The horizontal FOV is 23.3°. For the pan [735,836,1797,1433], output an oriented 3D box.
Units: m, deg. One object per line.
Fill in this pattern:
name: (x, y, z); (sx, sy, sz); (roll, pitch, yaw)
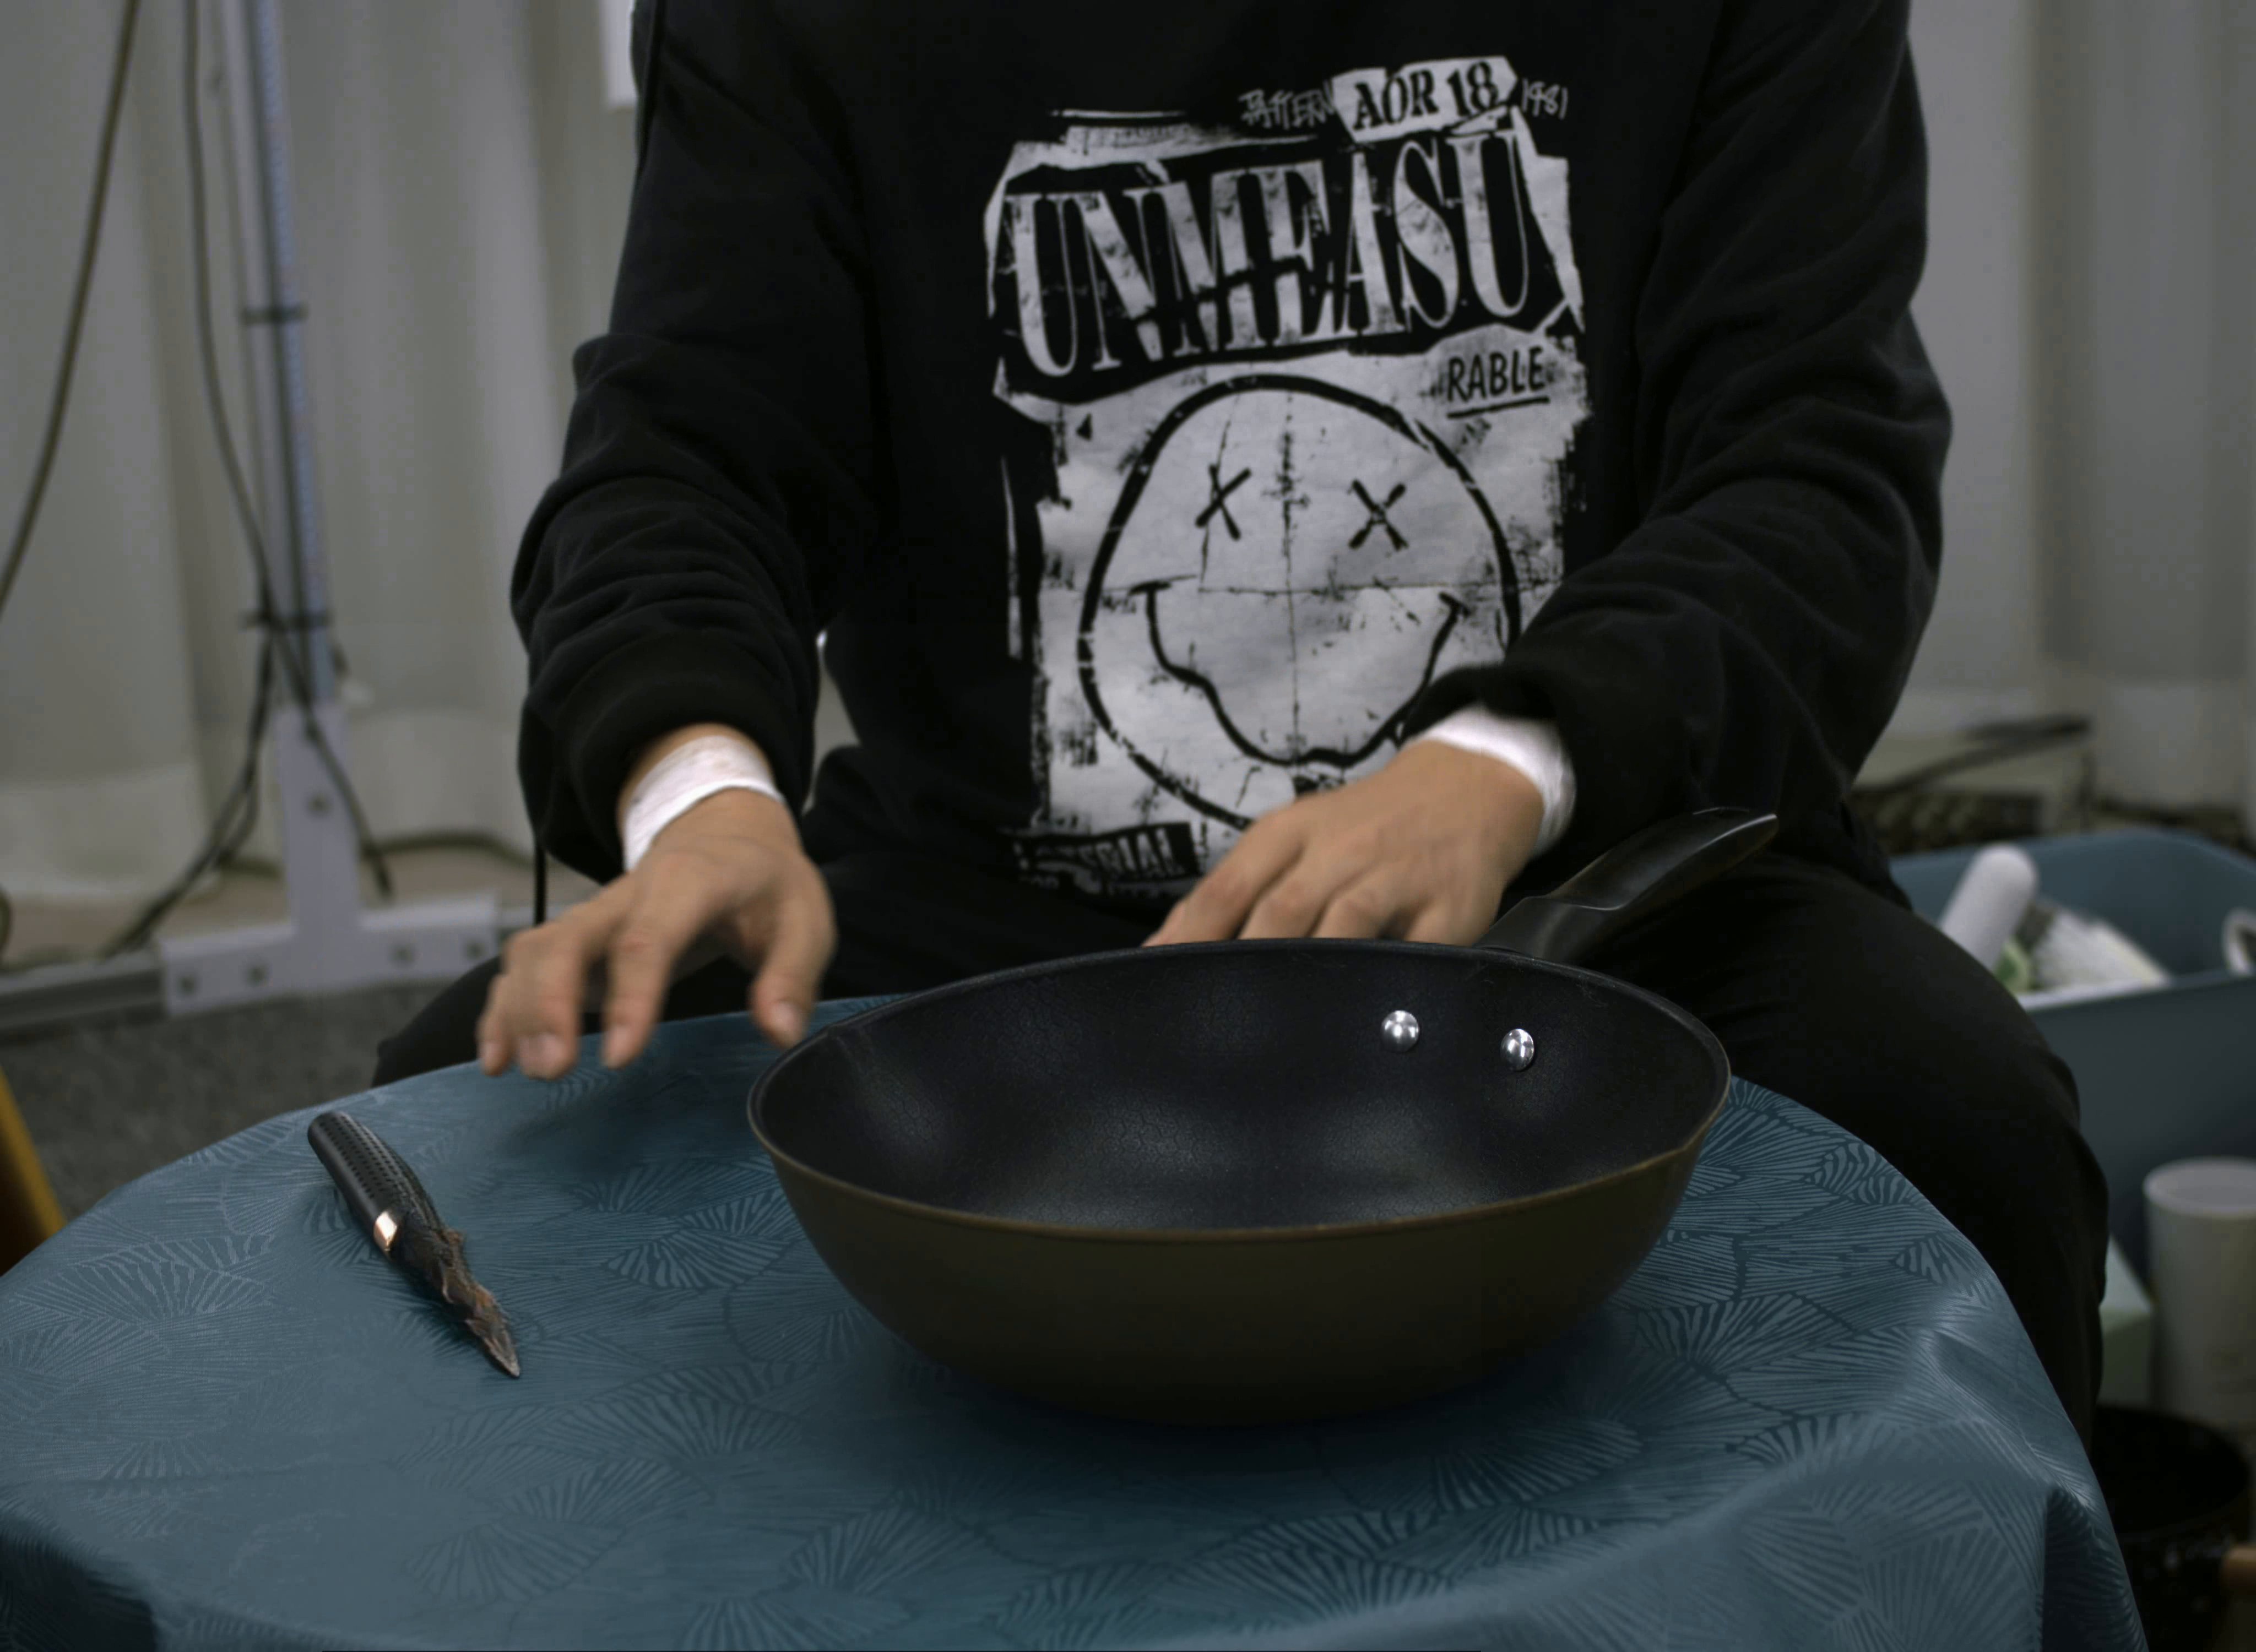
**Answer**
pan: (0.080, 0.089, 1.642); (0.289, 0.086, 0.463); (7, 16, 33)

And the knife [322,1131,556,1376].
knife: (-0.213, 0.131, 1.678); (0.026, 0.017, 0.227); (4, 12, -23)
